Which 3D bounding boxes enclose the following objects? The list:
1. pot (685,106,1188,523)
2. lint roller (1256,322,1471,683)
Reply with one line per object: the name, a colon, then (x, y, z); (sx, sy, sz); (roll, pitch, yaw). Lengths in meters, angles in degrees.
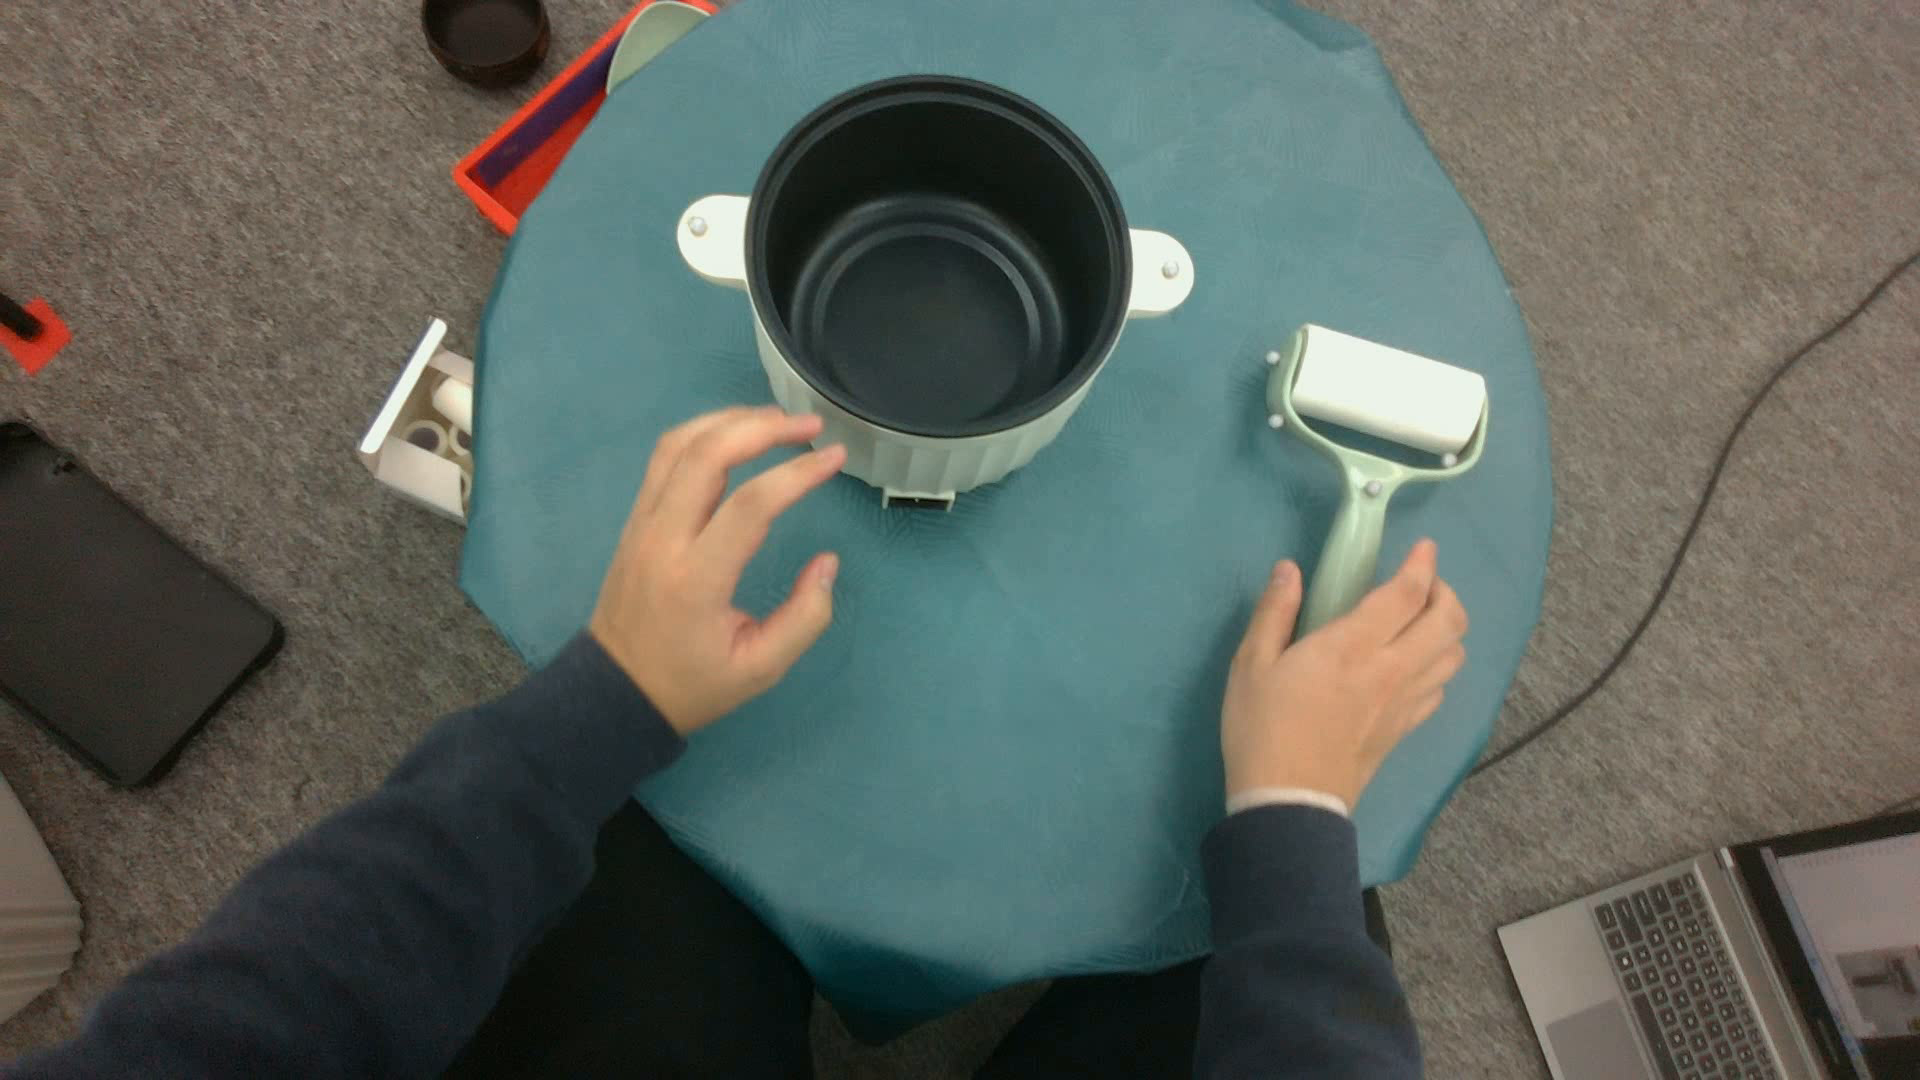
pot: (-0.016, -0.114, 0.716); (0.240, 0.142, 0.191); (0, 77, -6)
lint roller: (0.212, -0.020, 0.760); (0.116, 0.048, 0.198); (14, 75, -4)
